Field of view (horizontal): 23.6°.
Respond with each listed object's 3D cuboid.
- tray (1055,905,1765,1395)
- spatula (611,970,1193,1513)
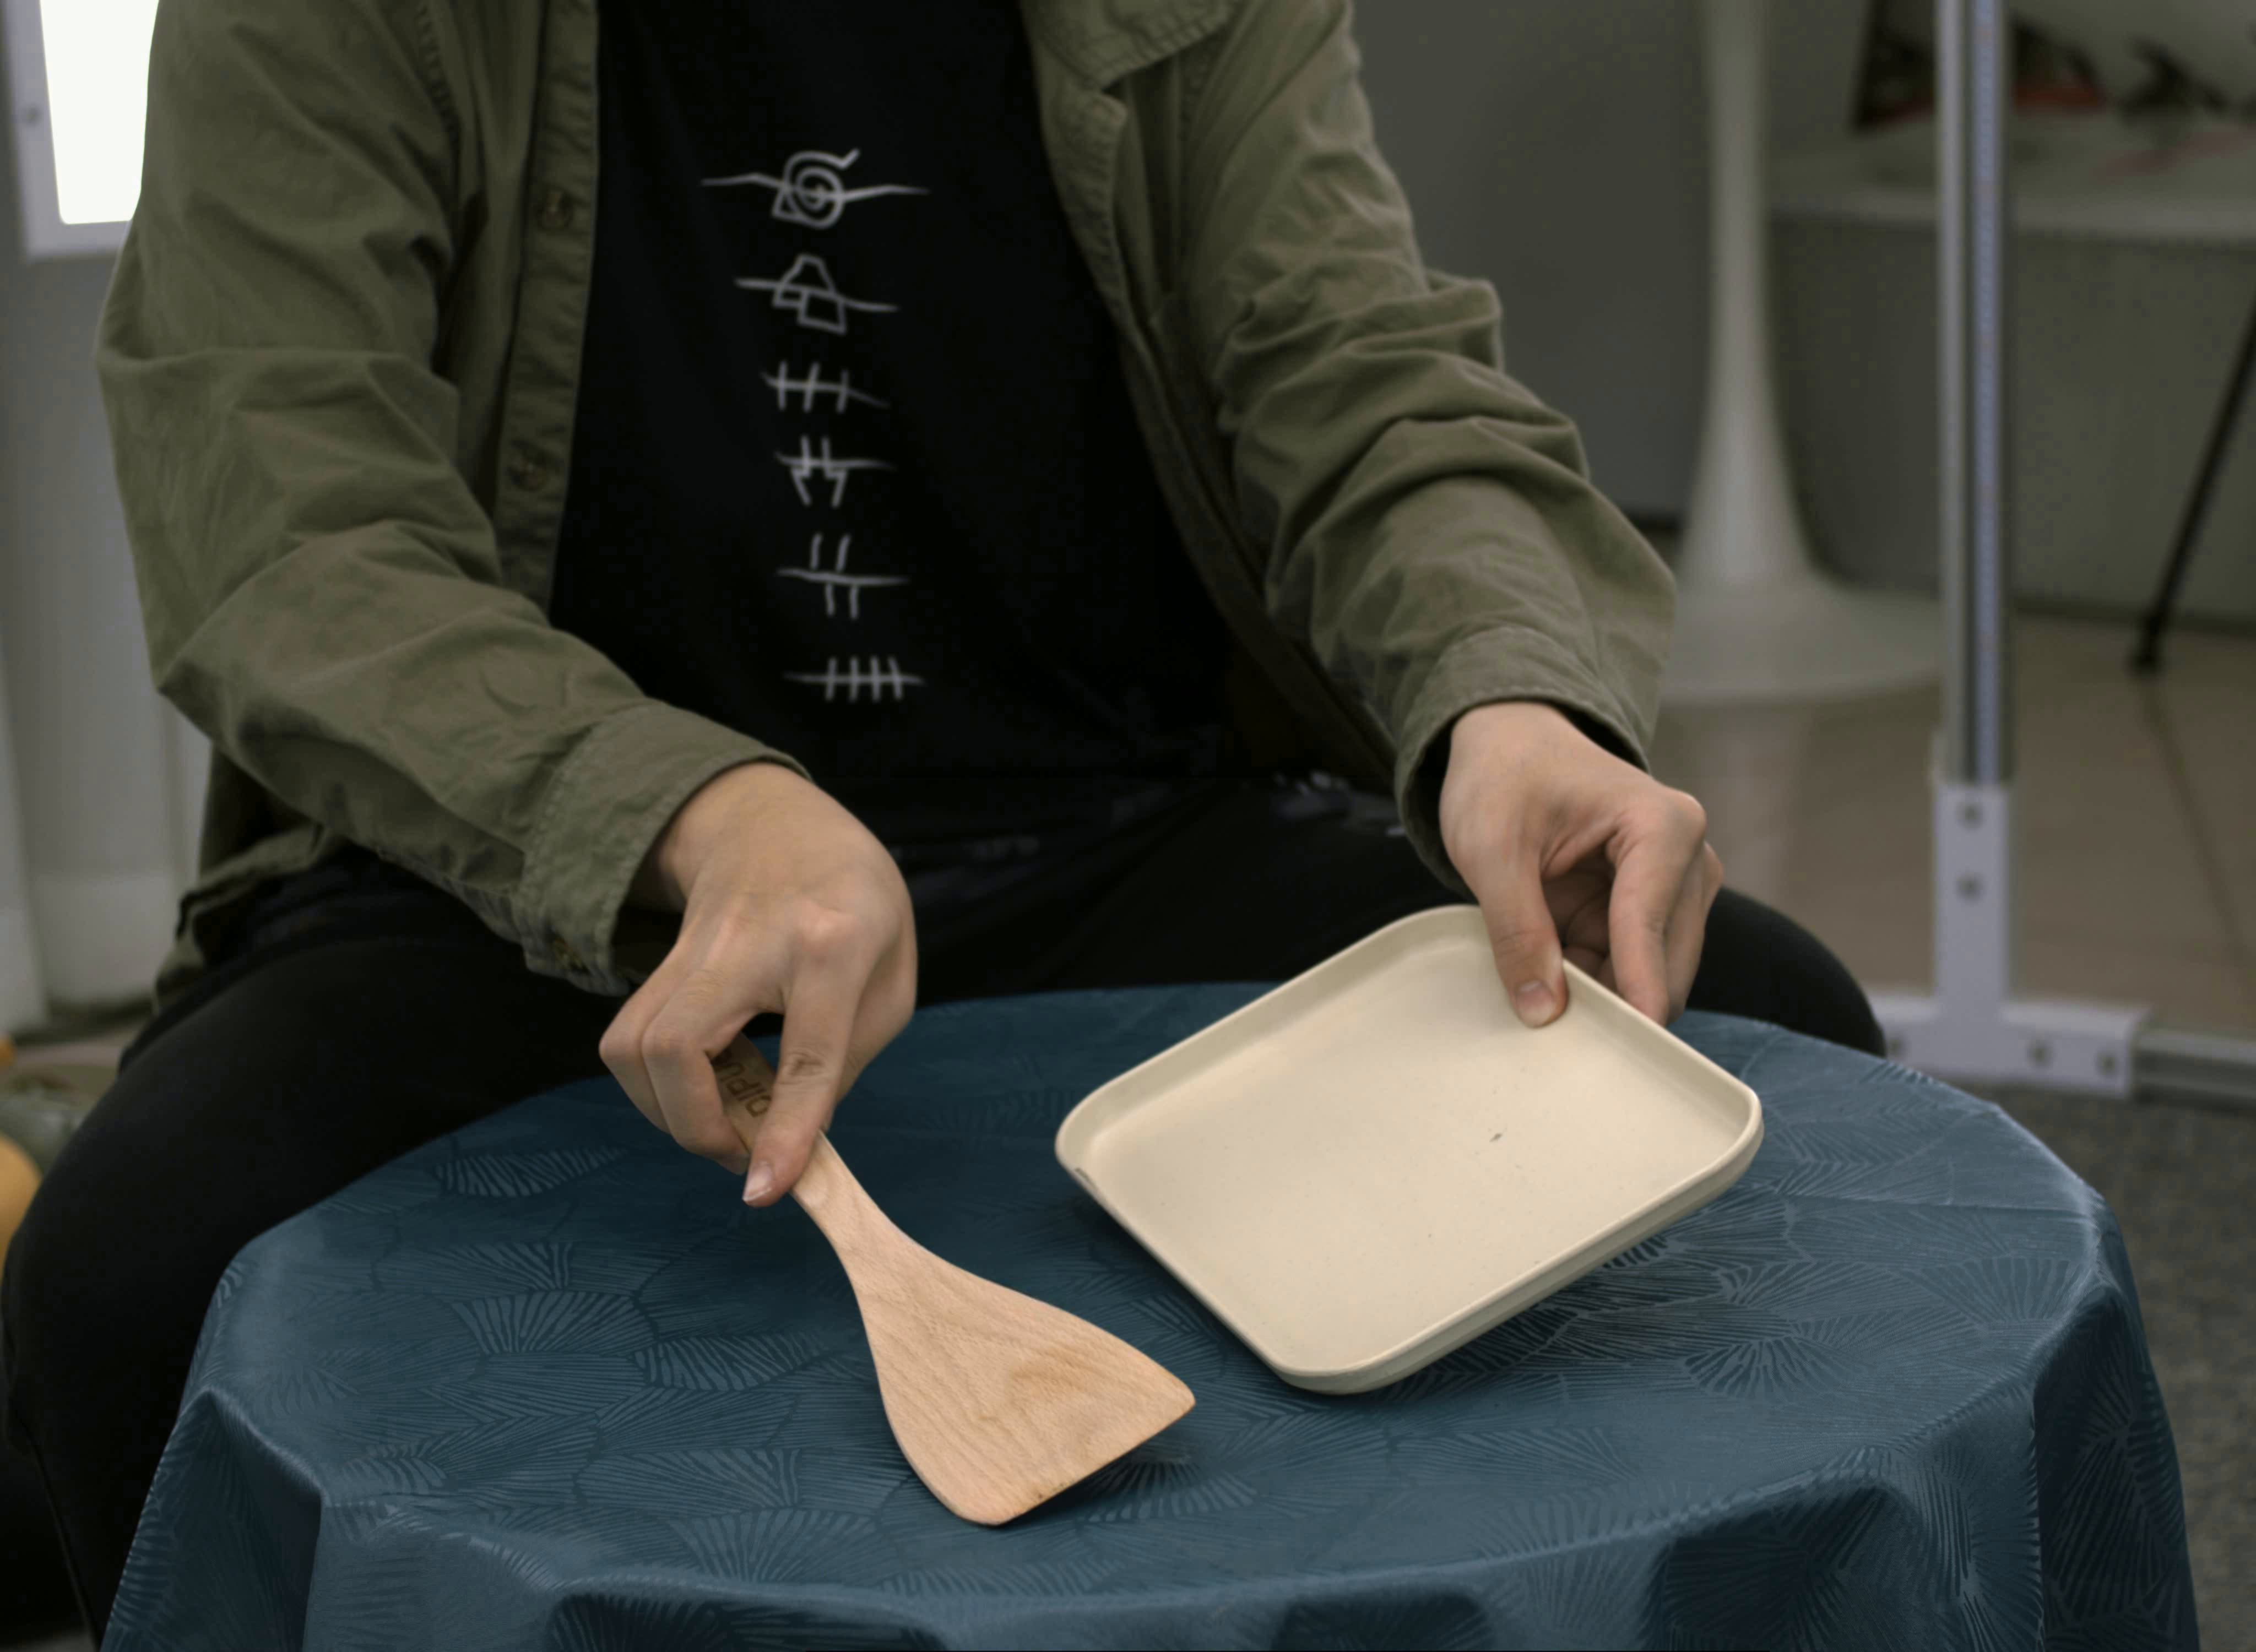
[{"bbox_3d":[0.084,0.098,1.667,0.169,0.017,0.242,-29,24,-11],"label":"tray"},{"bbox_3d":[-0.083,0.114,1.630,0.078,0.016,0.331,-24,34,-18],"label":"spatula"}]
